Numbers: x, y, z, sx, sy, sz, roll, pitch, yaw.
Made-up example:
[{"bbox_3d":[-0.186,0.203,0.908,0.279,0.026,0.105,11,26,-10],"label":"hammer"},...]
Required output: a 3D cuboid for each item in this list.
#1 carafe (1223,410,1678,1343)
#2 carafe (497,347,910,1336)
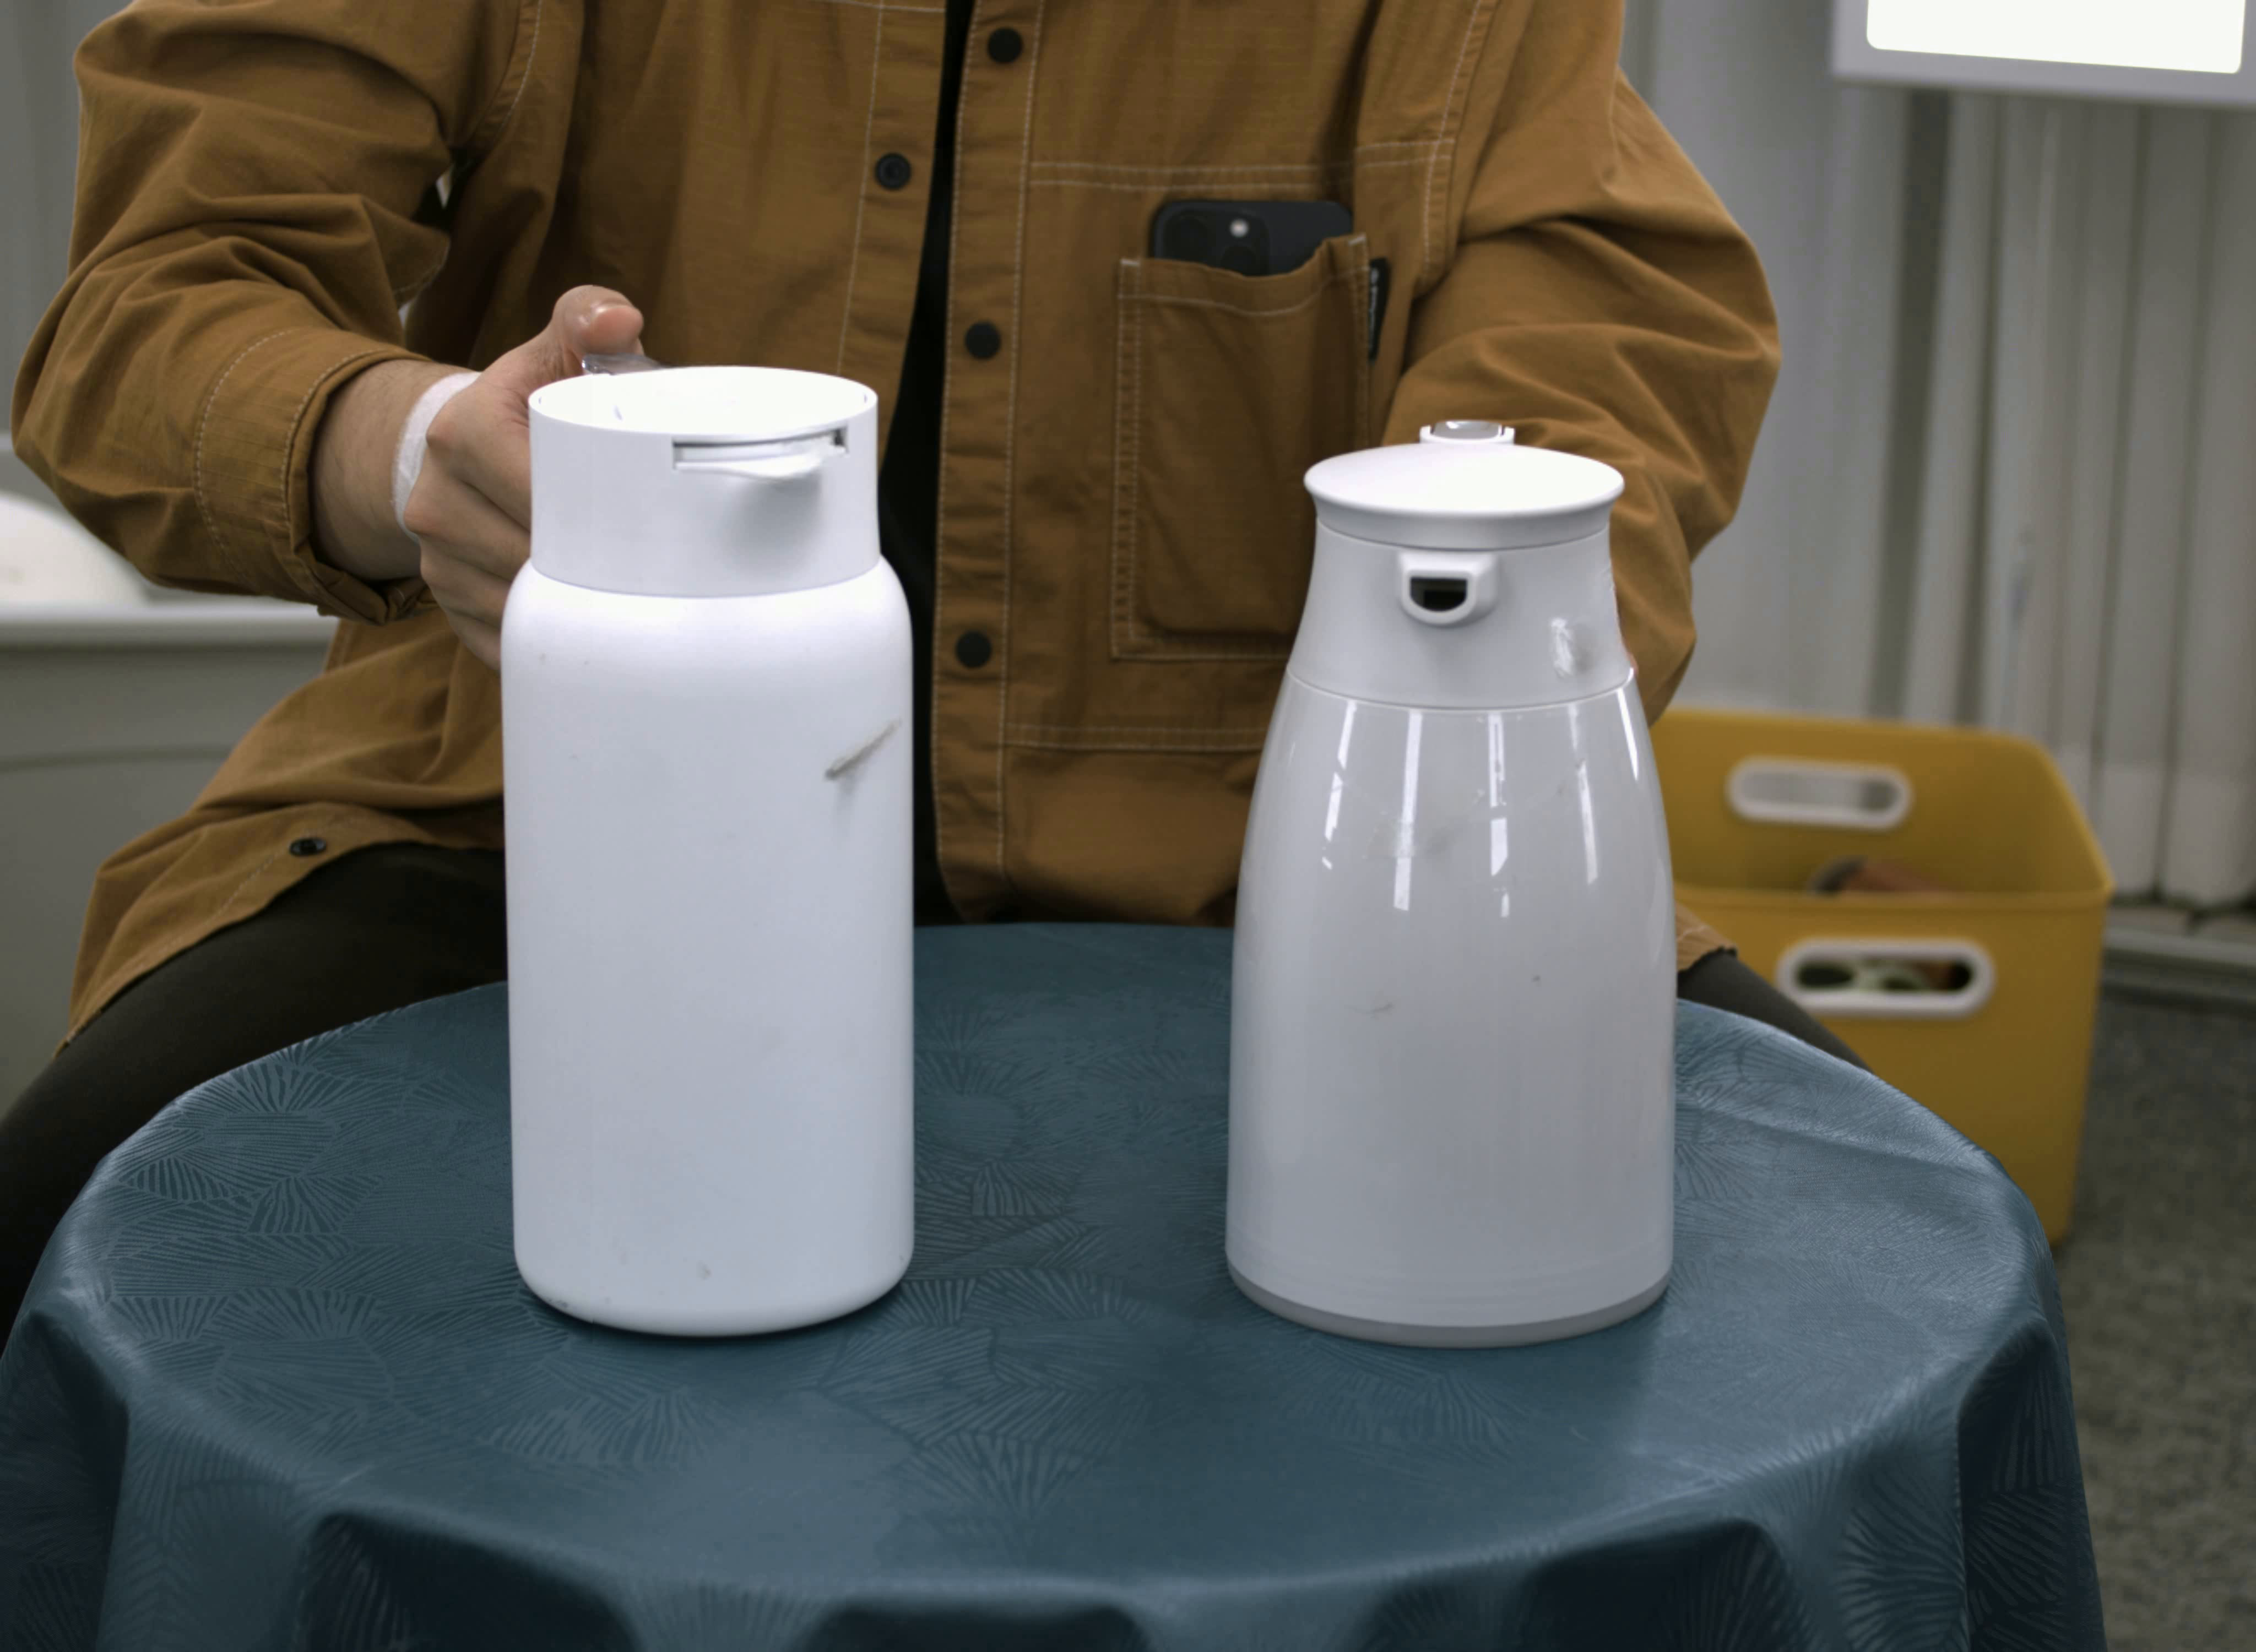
[{"bbox_3d":[0.097,0.006,1.541,0.132,0.250,0.167,3,16,8],"label":"carafe"},{"bbox_3d":[-0.130,0.000,1.520,0.124,0.271,0.170,-10,19,-27],"label":"carafe"}]
